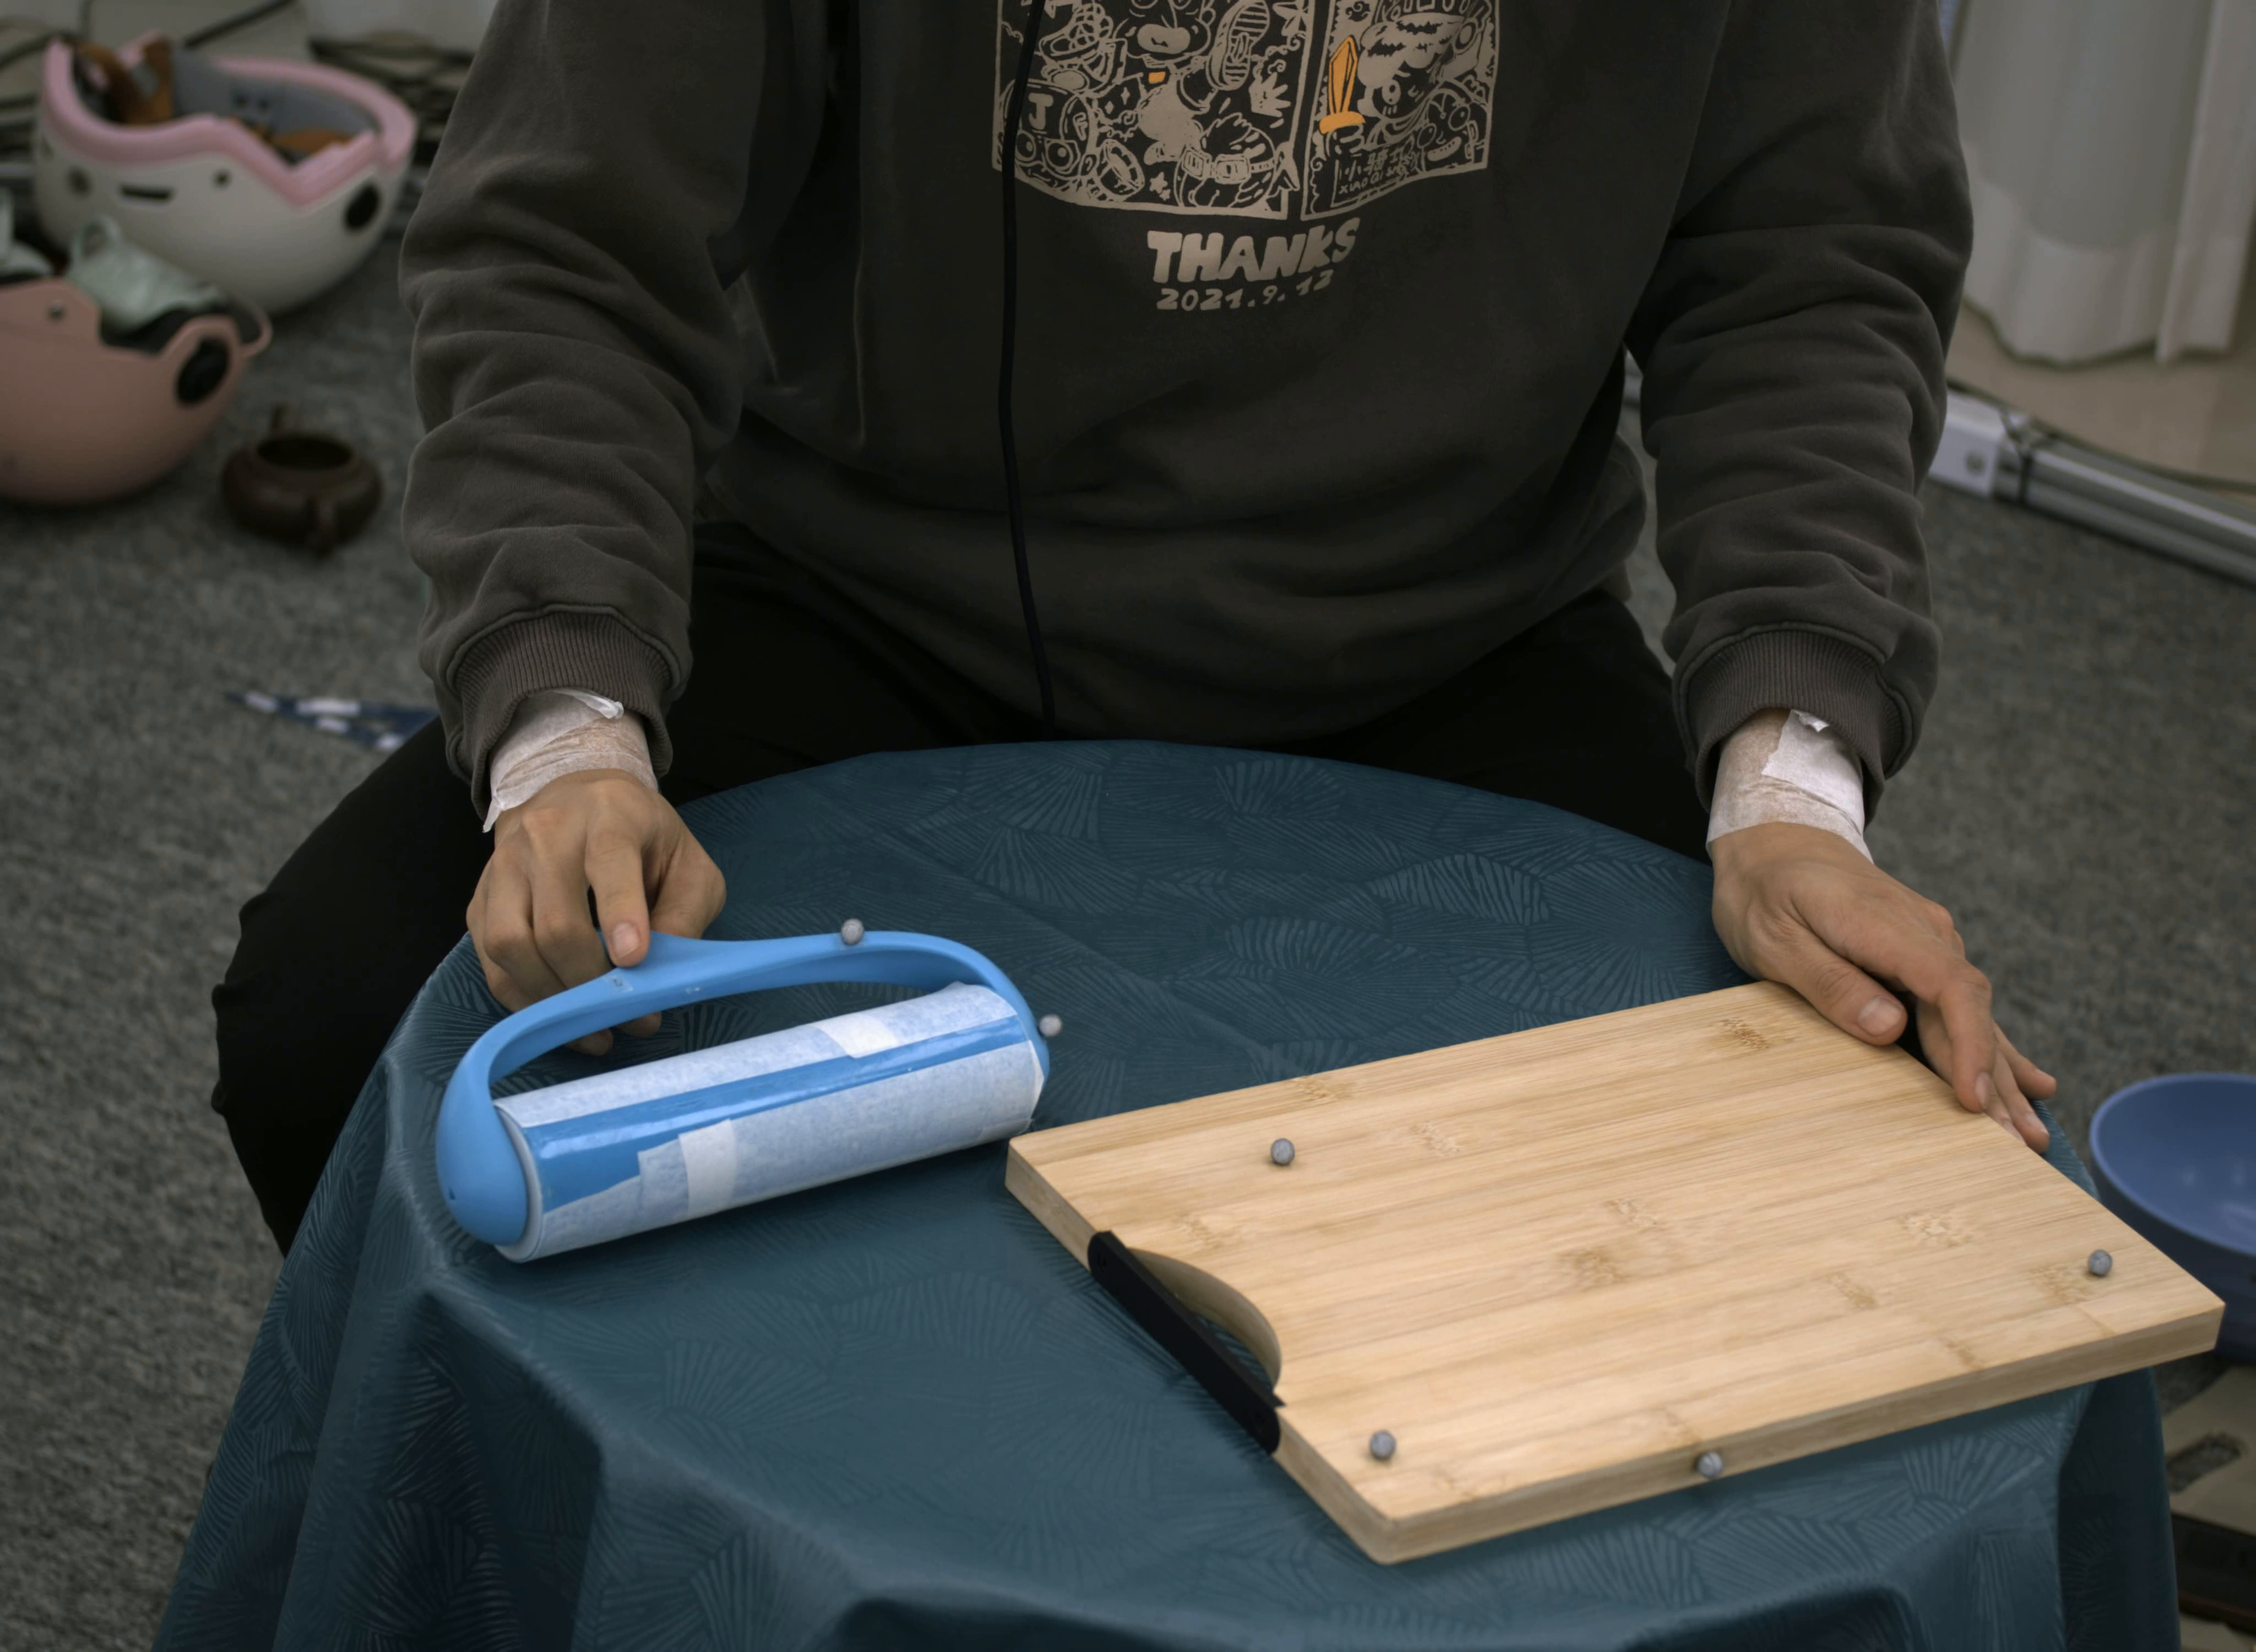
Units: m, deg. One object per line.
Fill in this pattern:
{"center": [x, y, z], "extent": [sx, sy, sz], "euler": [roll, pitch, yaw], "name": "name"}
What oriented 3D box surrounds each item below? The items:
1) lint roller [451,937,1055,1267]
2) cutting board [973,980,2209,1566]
{"center": [-0.157, 0.073, 1.806], "extent": [0.227, 0.068, 0.182], "euler": [-15, 34, -36], "name": "lint roller"}
{"center": [0.156, 0.142, 1.785], "extent": [0.346, 0.023, 0.253], "euler": [-10, 30, -30], "name": "cutting board"}
